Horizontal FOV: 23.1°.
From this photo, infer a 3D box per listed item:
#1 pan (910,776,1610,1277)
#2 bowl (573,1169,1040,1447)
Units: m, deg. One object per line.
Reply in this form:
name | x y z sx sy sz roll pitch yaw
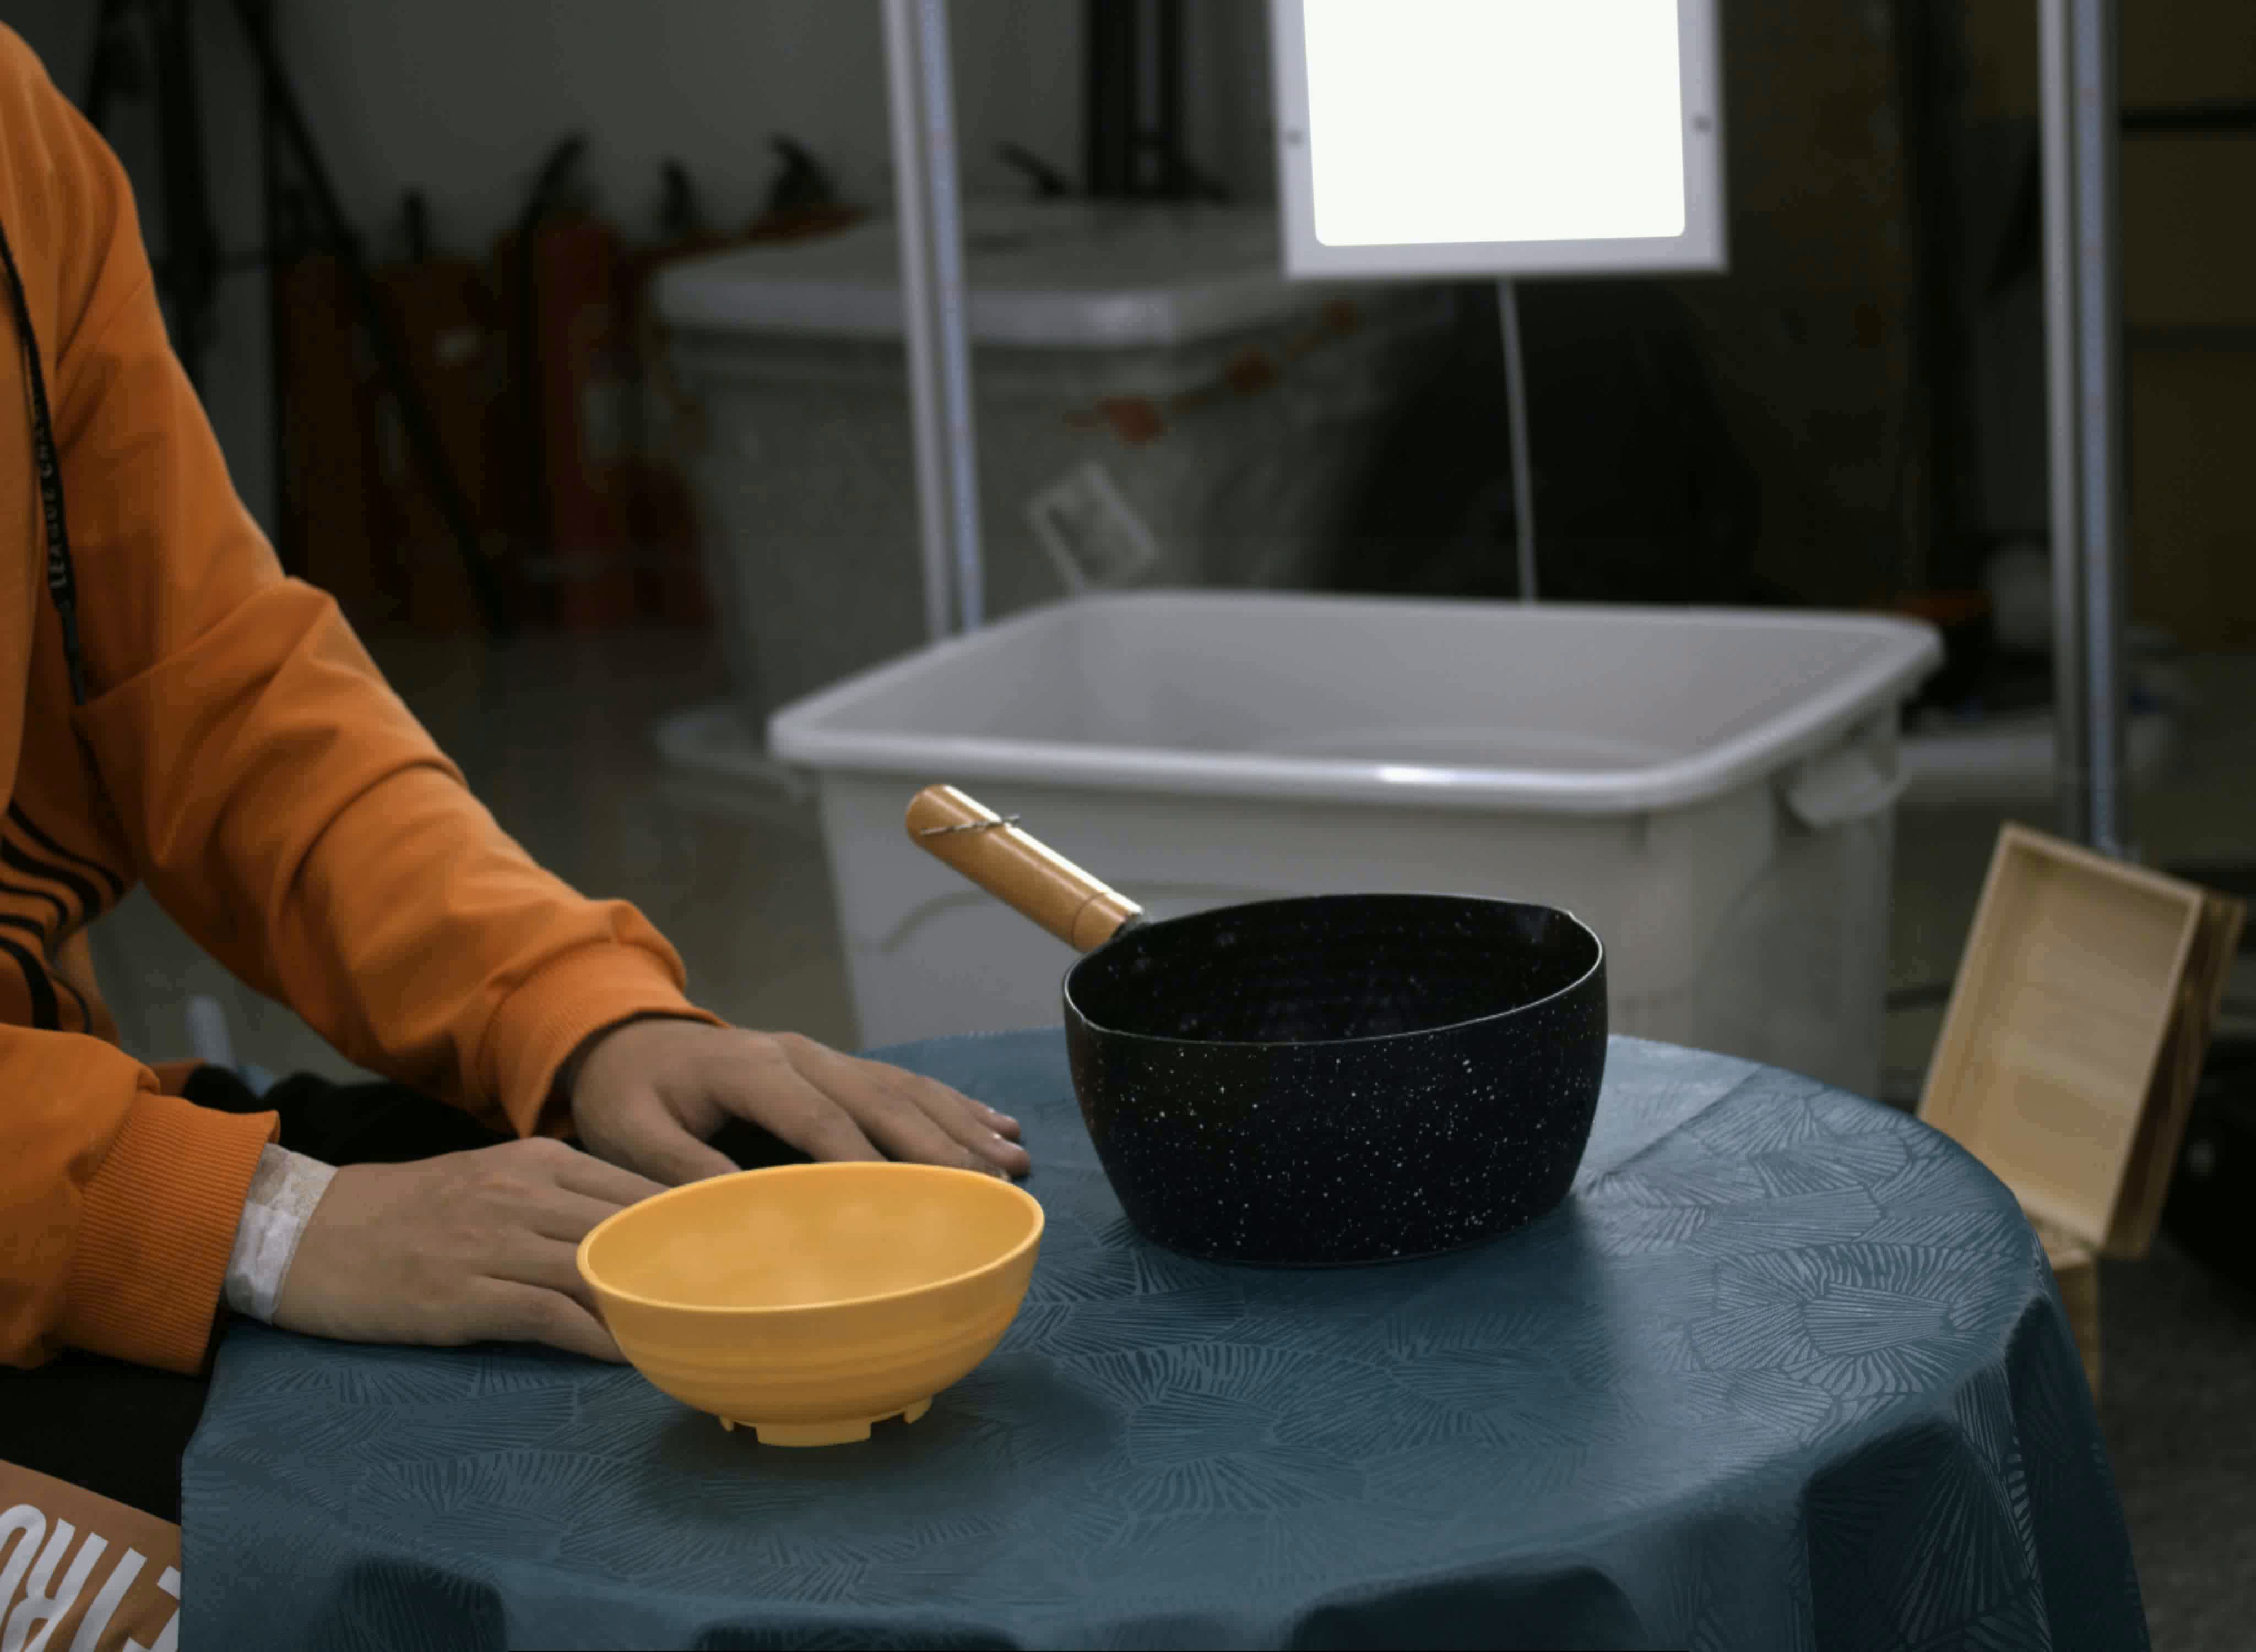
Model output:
pan | 0.025 0.063 1.919 0.202 0.108 0.349 -16 19 -32
bowl | -0.097 0.153 1.702 0.145 0.060 0.145 -4 13 0
